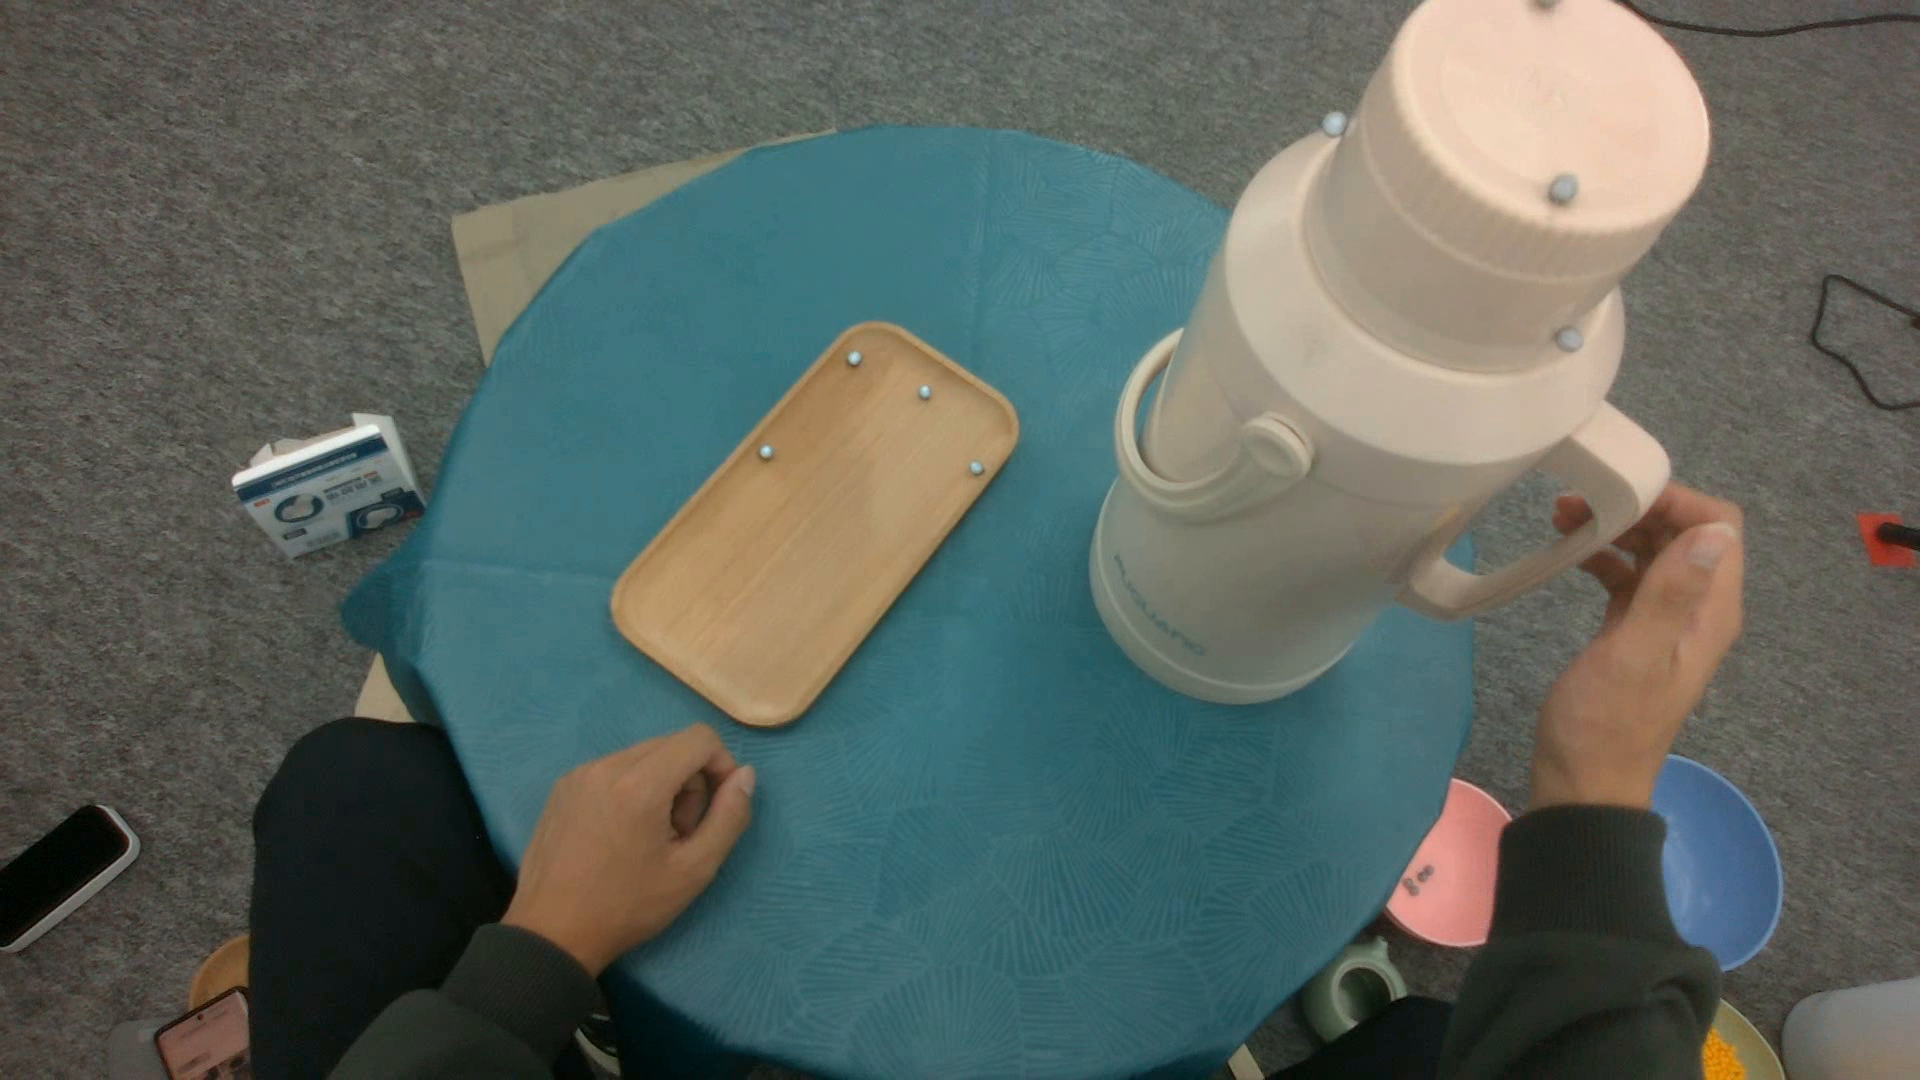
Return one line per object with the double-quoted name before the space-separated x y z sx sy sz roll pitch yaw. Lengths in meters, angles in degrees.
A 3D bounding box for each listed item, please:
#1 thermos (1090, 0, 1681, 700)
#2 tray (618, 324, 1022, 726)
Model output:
"thermos" 0.180 -0.050 0.630 0.207 0.404 0.176 40 68 13
"tray" -0.076 -0.014 0.797 0.130 0.023 0.251 34 68 12
